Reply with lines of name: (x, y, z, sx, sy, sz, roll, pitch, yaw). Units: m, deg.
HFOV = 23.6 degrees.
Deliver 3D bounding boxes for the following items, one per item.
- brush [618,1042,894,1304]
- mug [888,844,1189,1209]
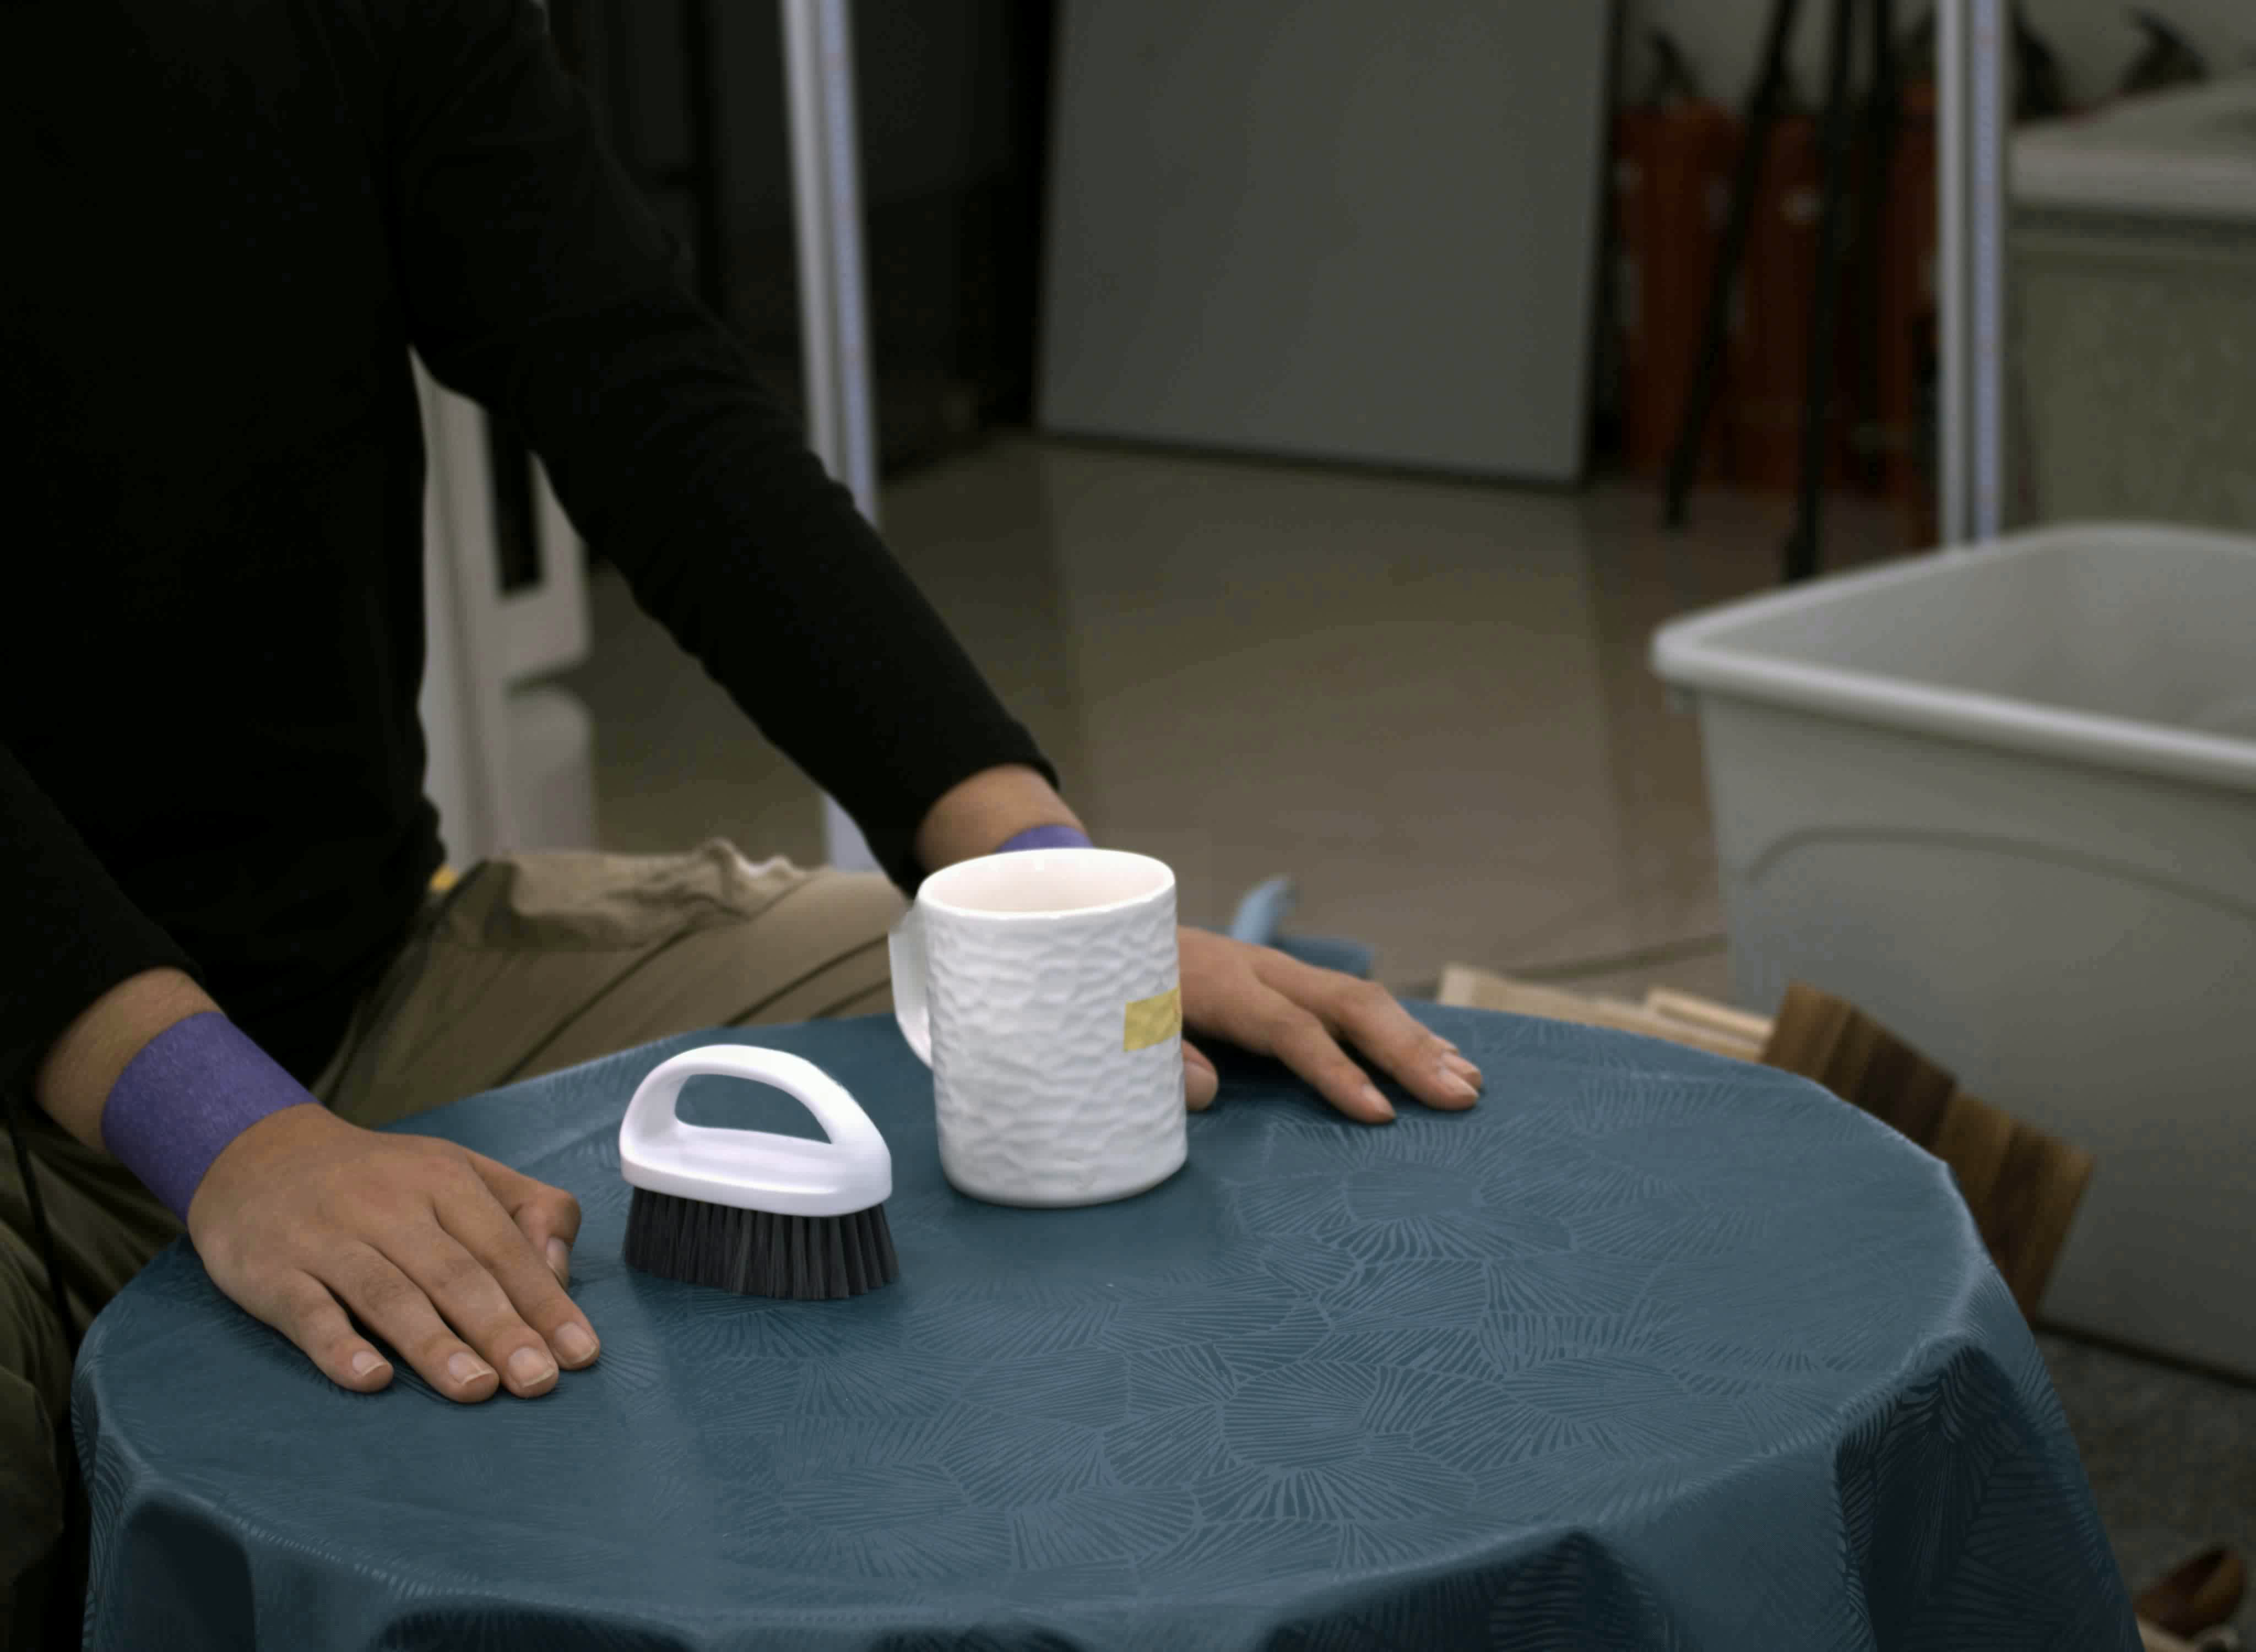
brush: (-0.119, 0.105, 1.709, 0.100, 0.073, 0.049, 7, 15, 38)
mug: (-0.035, 0.064, 1.792, 0.083, 0.103, 0.119, -16, 17, -42)
